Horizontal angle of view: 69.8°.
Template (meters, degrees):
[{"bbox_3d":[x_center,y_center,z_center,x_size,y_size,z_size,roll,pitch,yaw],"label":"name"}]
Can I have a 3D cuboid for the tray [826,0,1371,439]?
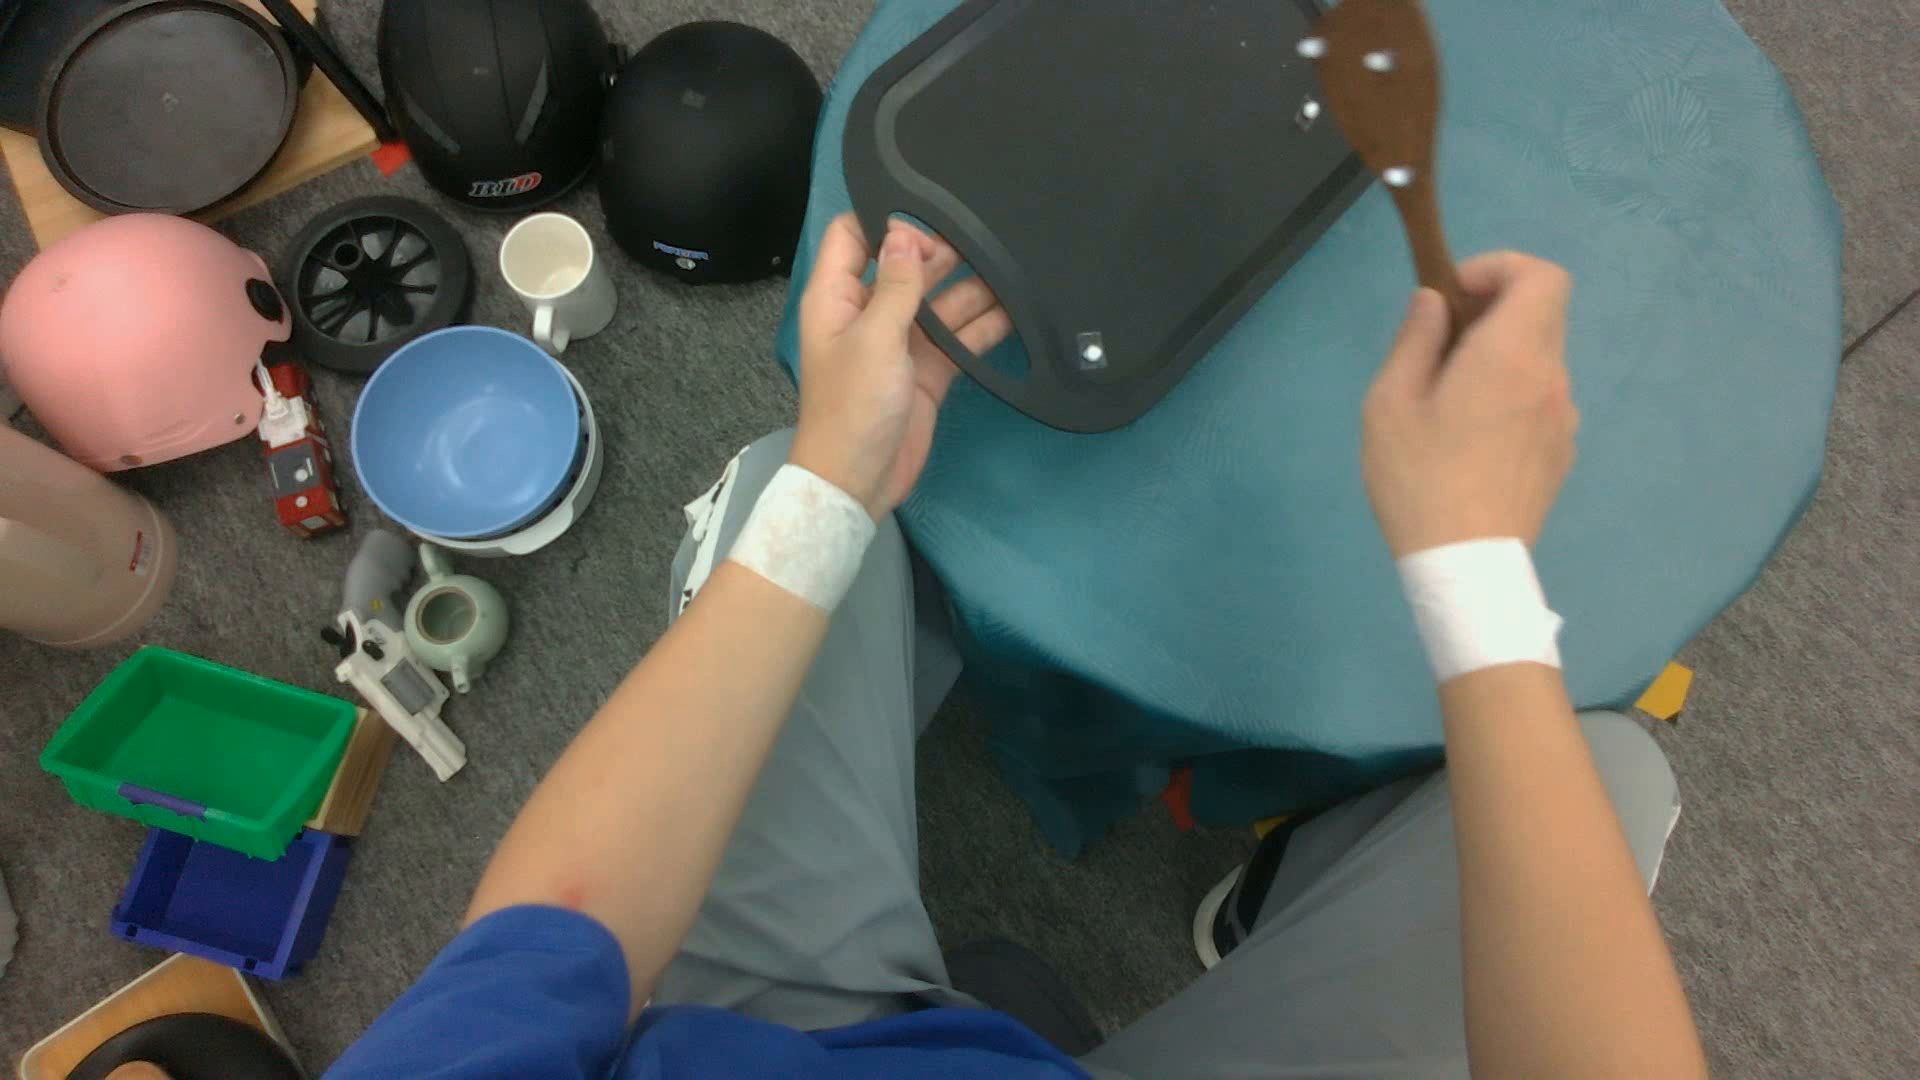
[{"bbox_3d":[0.082,-0.203,0.719,0.211,0.010,0.326,48,66,-8],"label":"tray"}]

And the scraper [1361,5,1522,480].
[{"bbox_3d":[0.229,-0.132,0.631,0.011,0.075,0.211,-9,90,-29],"label":"scraper"}]
